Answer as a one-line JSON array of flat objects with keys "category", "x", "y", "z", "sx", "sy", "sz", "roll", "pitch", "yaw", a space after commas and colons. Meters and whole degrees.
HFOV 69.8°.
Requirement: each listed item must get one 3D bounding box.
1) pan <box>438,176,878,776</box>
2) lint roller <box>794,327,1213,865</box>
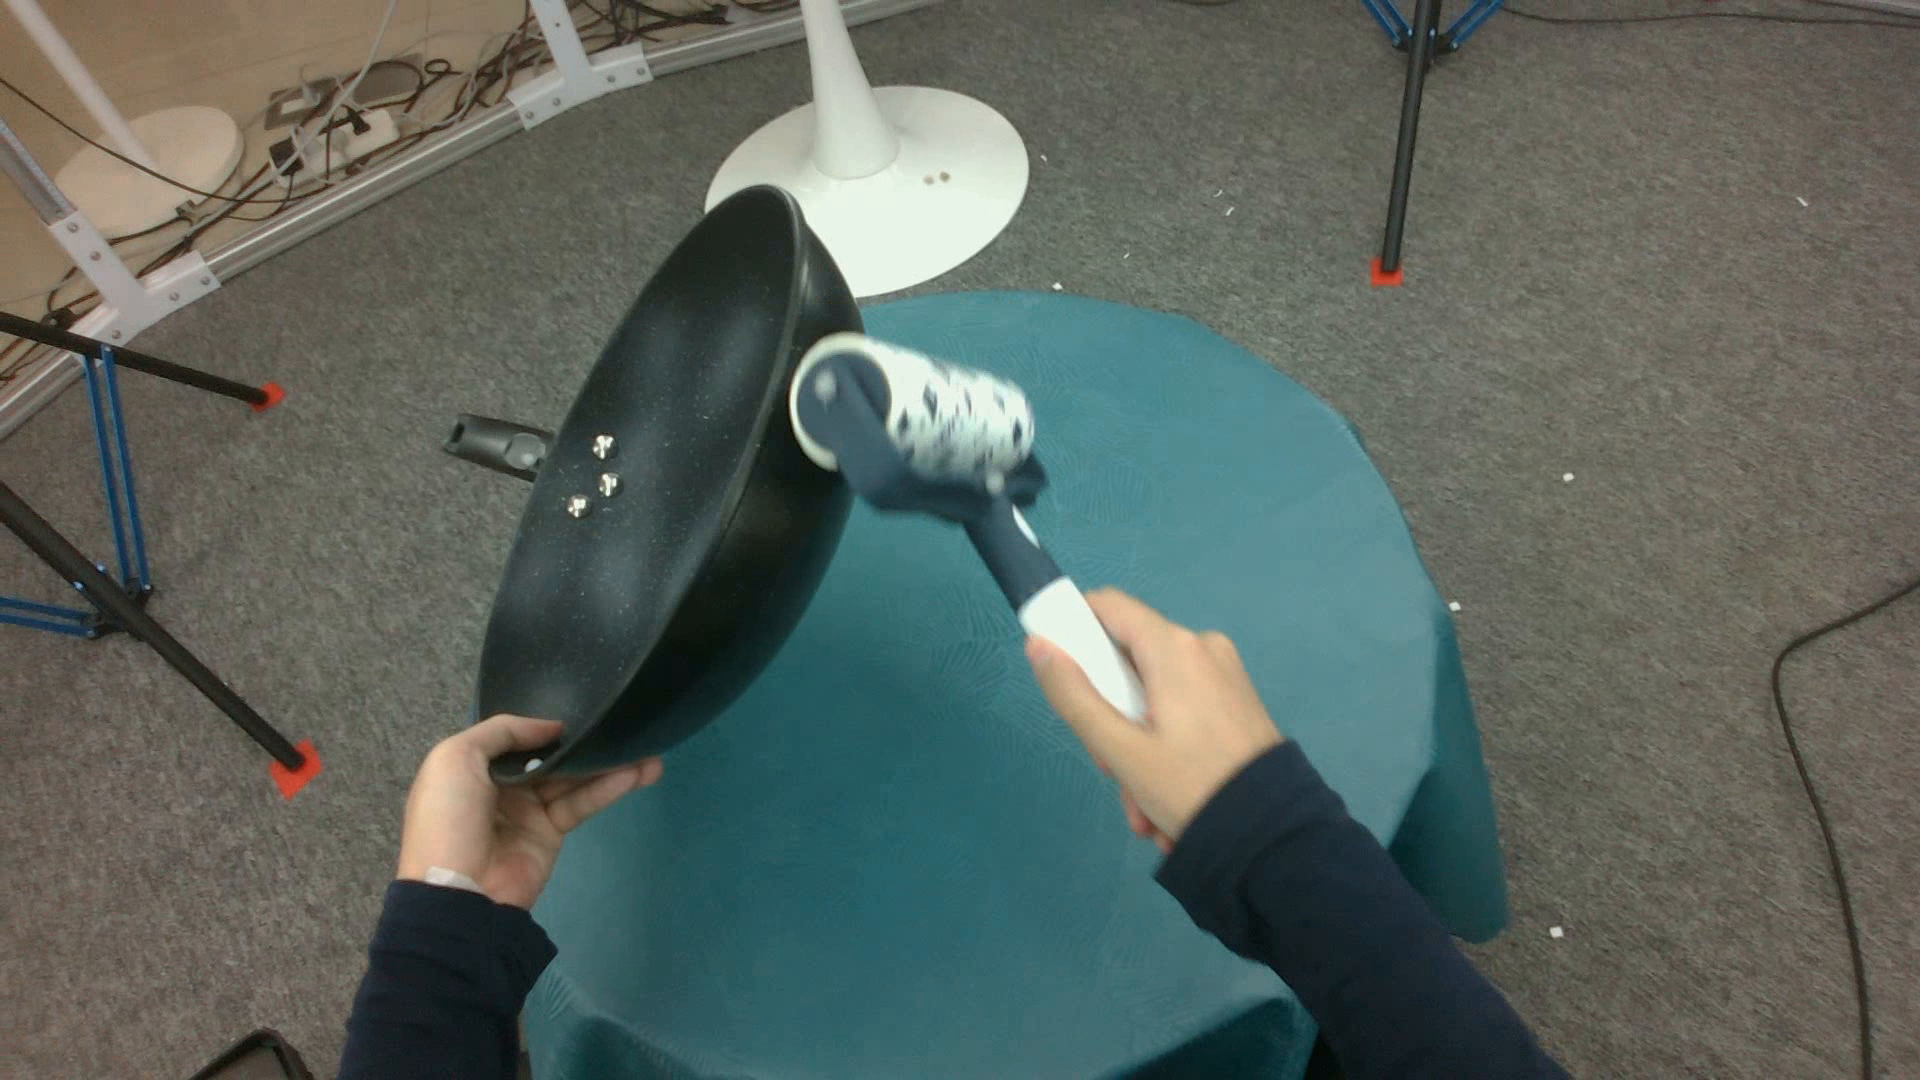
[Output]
[{"category": "pan", "x": -0.181, "y": -0.034, "z": 0.743, "sx": 0.476, "sy": 0.111, "sz": 0.310, "roll": 10, "pitch": 75, "yaw": 58}, {"category": "lint roller", "x": 0.038, "y": 0.022, "z": 0.583, "sx": 0.050, "sy": 0.176, "sz": 0.247, "roll": -37, "pitch": 79, "yaw": 17}]
